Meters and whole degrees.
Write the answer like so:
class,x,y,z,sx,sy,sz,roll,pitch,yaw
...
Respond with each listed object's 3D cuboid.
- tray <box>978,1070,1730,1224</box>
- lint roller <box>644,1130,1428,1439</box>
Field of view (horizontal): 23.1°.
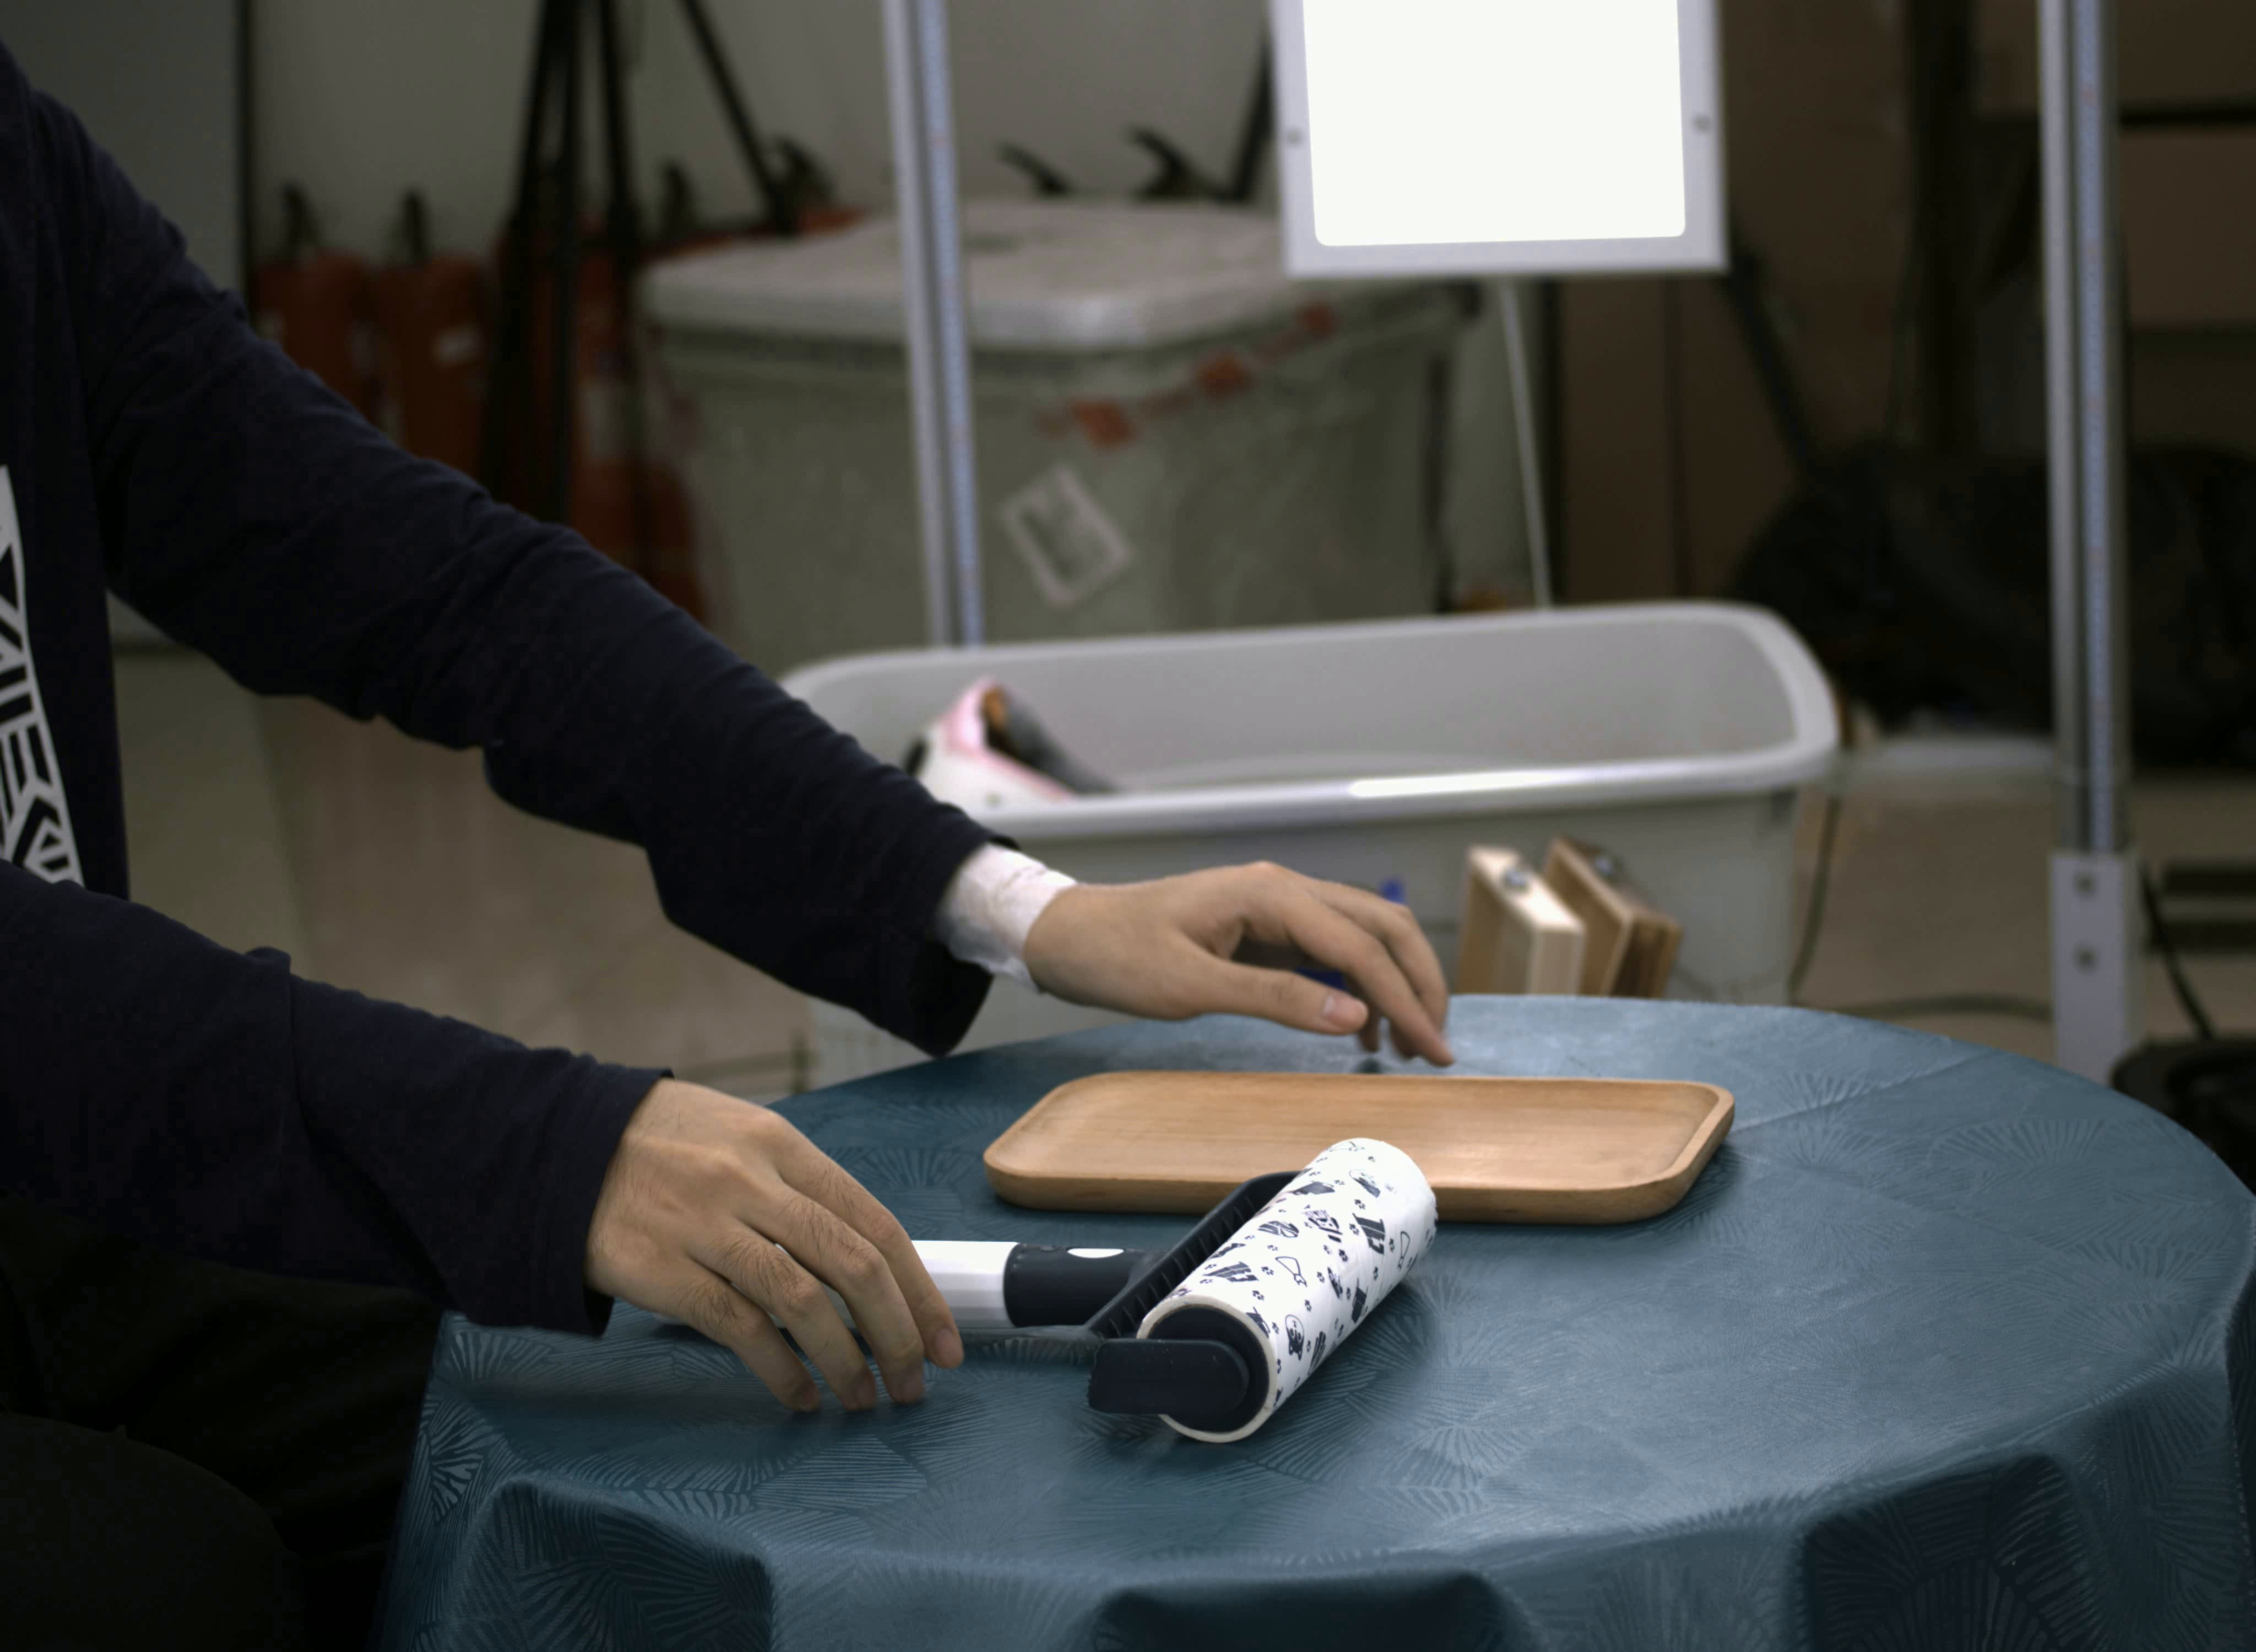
class,x,y,z,sx,sy,sz,roll,pitch,yaw
tray,0.079,0.110,1.907,0.254,0.023,0.128,-1,11,22
lint roller,-0.044,0.146,1.756,0.251,0.050,0.173,-2,14,23
